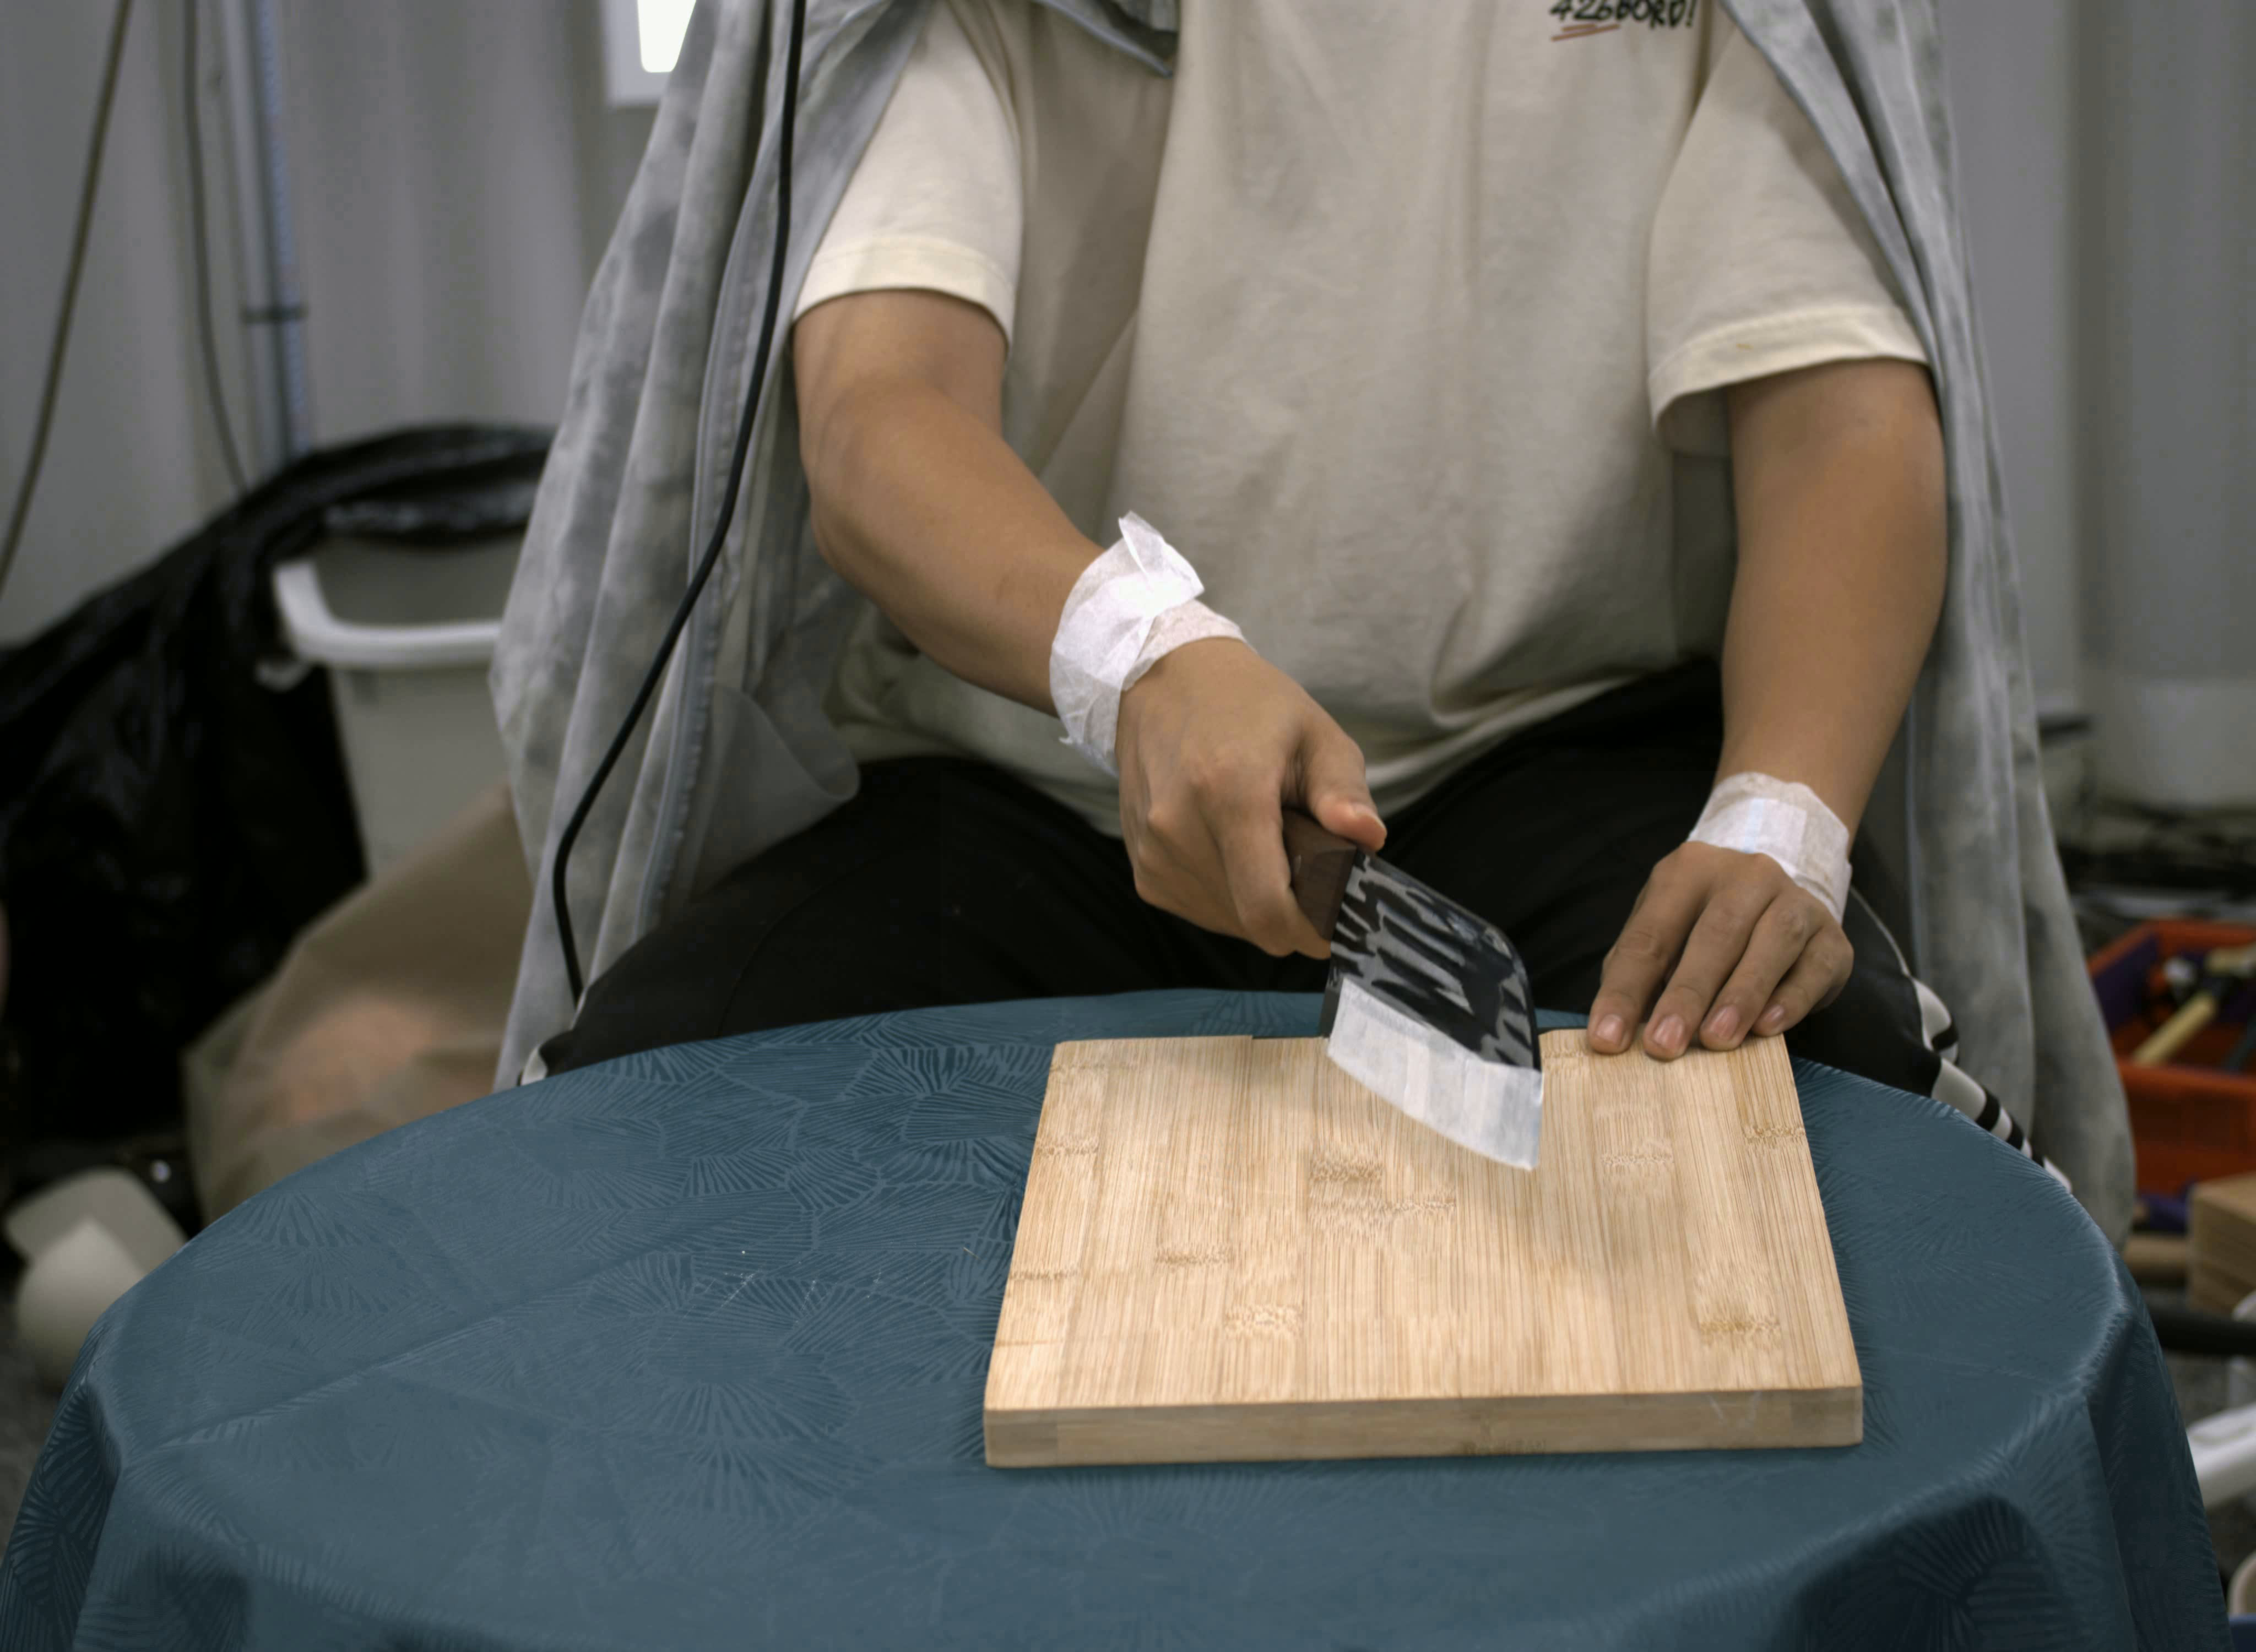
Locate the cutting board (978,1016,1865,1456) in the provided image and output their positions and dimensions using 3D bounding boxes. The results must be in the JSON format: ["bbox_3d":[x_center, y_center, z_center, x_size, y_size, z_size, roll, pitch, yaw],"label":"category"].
[{"bbox_3d":[0.088,0.120,1.654,0.250,0.023,0.351,-2,15,2],"label":"cutting board"}]

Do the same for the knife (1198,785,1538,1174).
[{"bbox_3d":[0.074,0.045,1.701,0.024,0.068,0.302,10,9,-20],"label":"knife"}]
